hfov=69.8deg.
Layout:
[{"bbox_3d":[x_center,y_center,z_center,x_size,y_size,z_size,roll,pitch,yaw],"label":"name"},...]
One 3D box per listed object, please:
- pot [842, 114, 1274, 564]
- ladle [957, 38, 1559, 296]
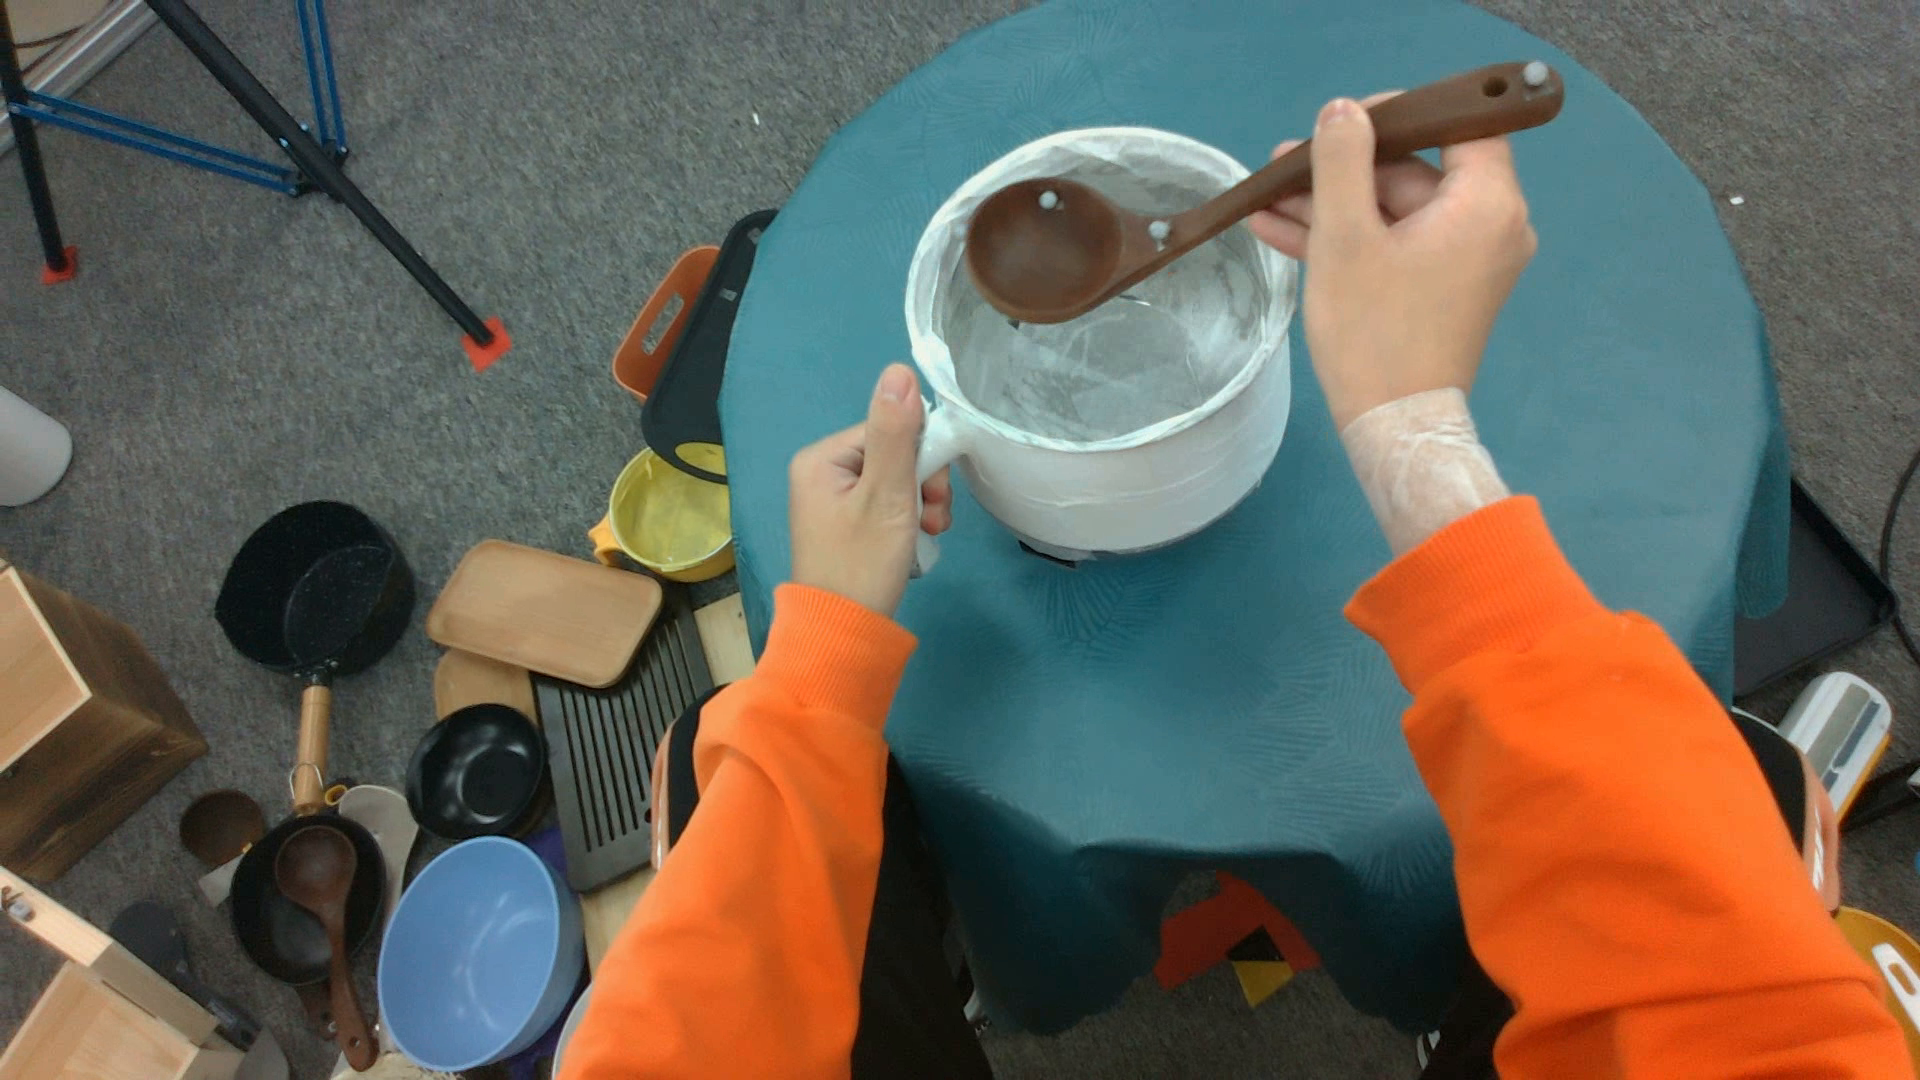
[{"bbox_3d":[0.040,-0.081,0.673,0.234,0.136,0.179,-37,62,-9],"label":"pot"},{"bbox_3d":[0.107,-0.161,0.571,0.259,0.065,0.077,-11,68,43],"label":"ladle"}]
